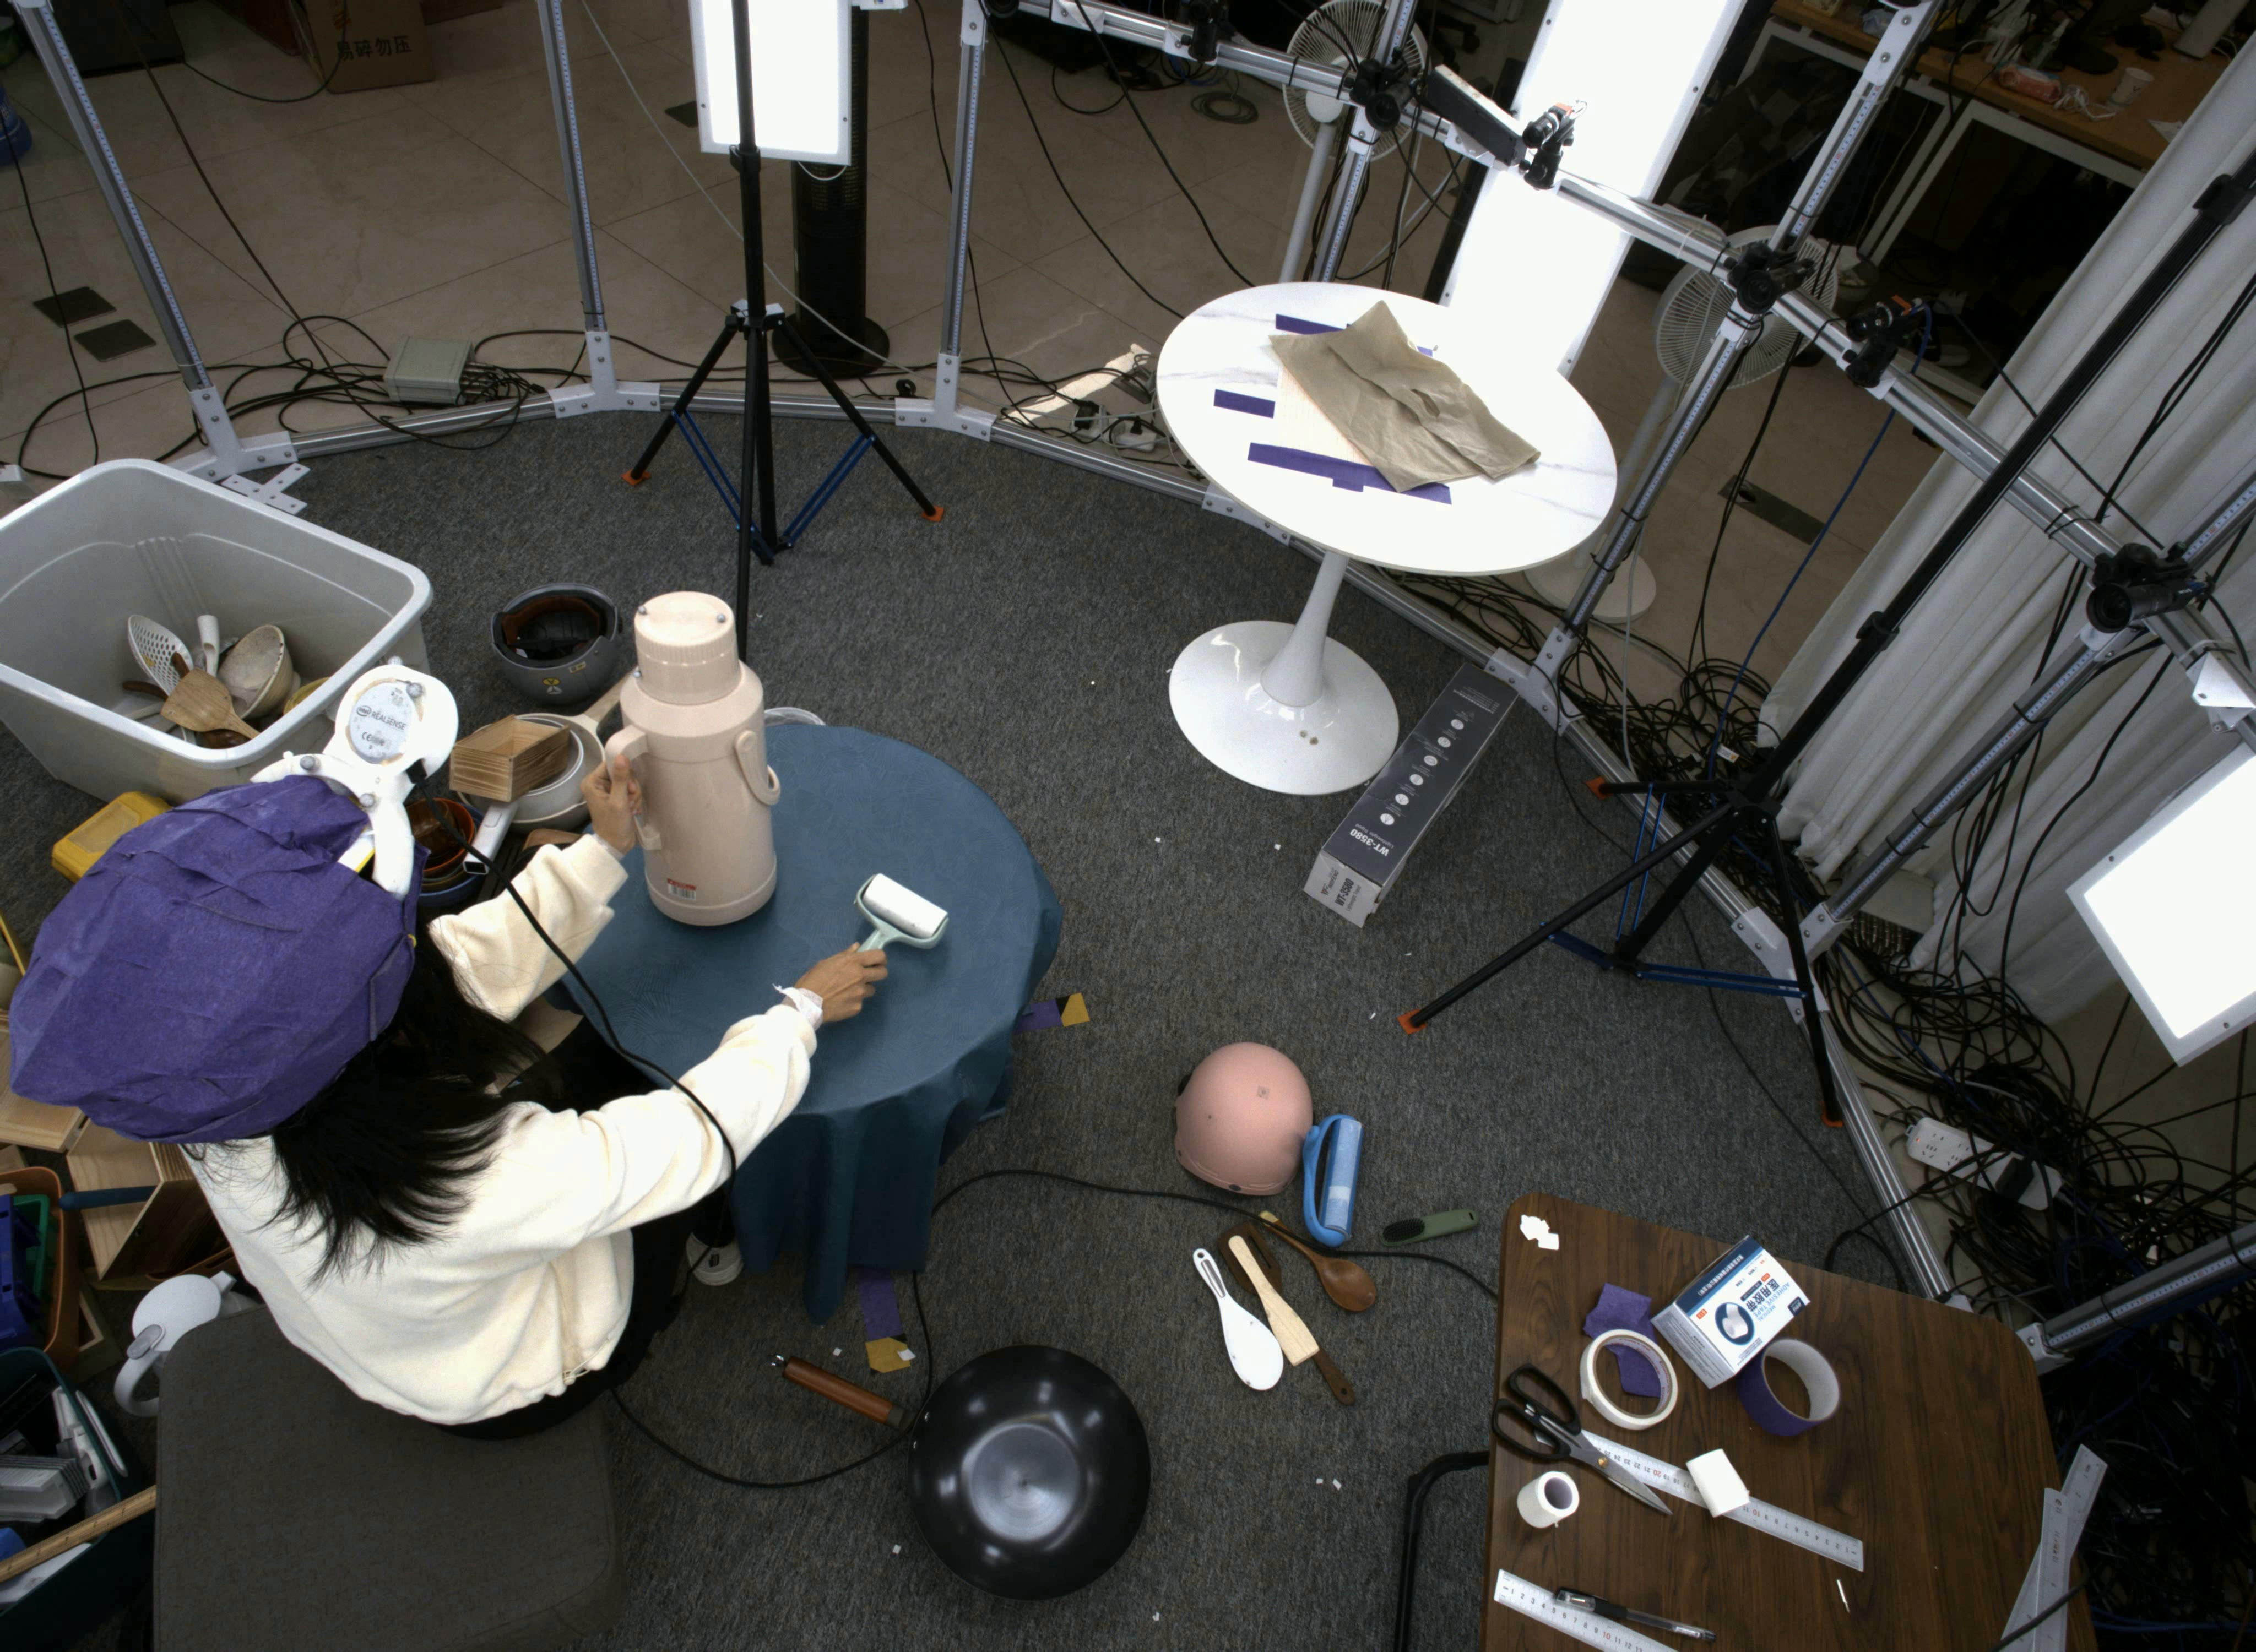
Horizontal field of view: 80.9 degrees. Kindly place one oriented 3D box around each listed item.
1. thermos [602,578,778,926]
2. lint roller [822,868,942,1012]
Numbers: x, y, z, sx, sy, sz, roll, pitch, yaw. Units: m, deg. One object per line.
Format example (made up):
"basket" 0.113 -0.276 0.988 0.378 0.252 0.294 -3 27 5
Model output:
"thermos" -0.510 -0.076 1.481 0.170 0.417 0.207 28 45 20
"lint roller" -0.315 0.140 1.571 0.116 0.049 0.196 33 44 -2
